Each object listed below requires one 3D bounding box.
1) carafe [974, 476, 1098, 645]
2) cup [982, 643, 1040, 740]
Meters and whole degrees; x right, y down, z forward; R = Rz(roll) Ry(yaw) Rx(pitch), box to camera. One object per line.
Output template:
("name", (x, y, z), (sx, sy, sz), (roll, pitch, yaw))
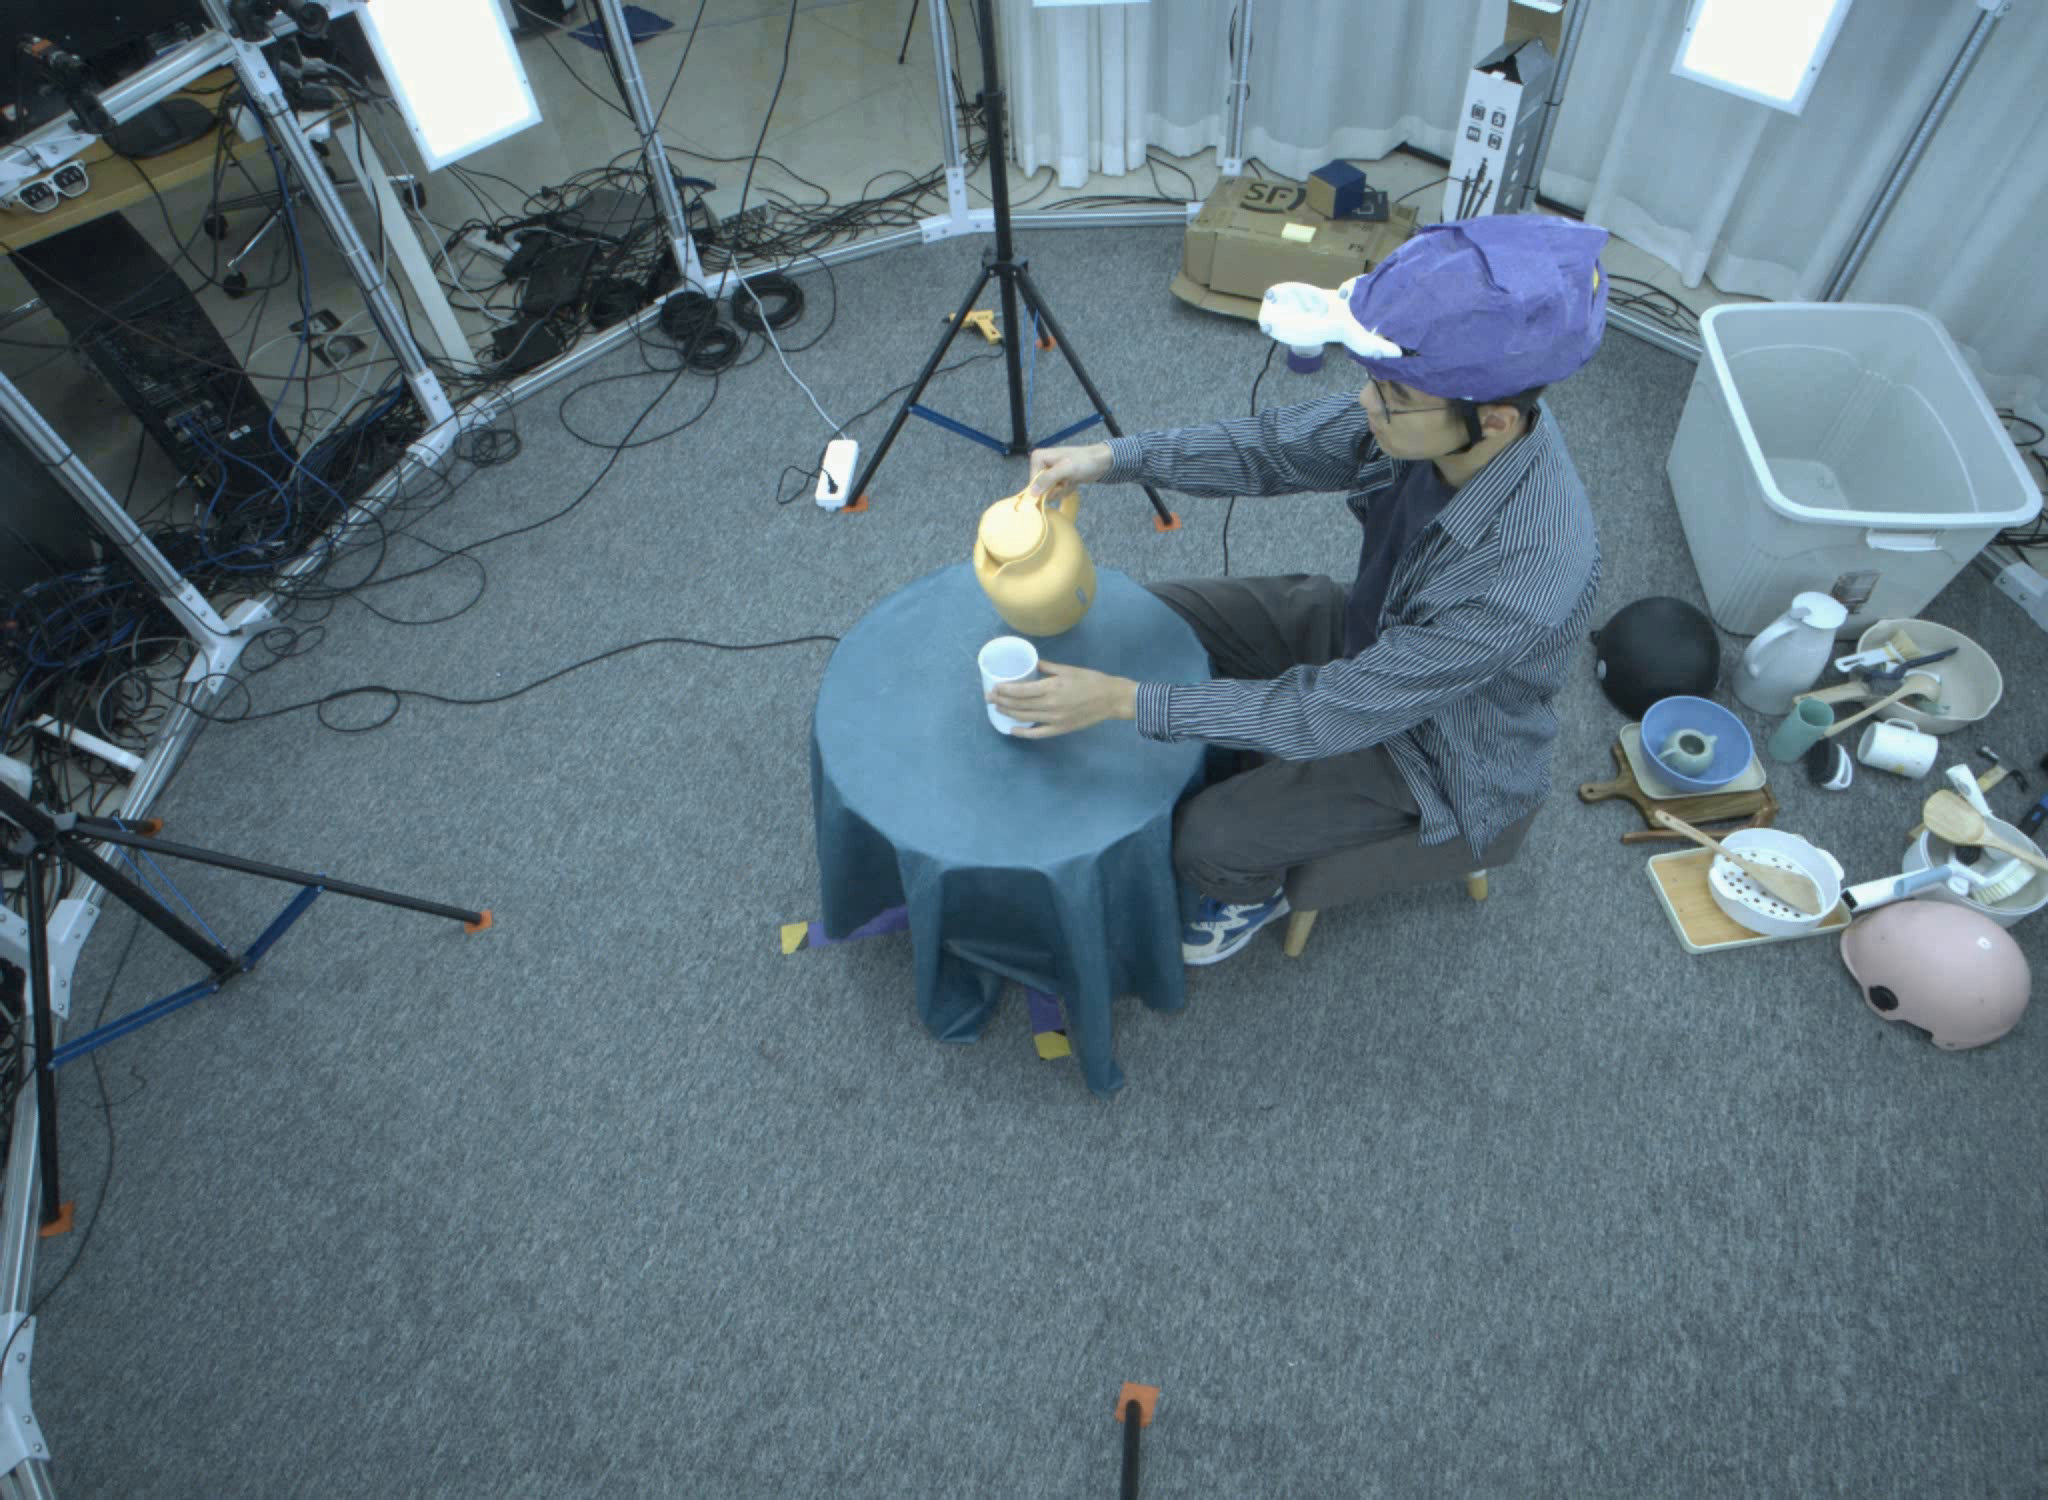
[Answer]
("carafe", (0.021, -0.277, 1.783), (0.161, 0.263, 0.202), (27, 84, 16))
("cup", (-0.017, -0.080, 1.742), (0.082, 0.127, 0.081), (0, 53, 1))
